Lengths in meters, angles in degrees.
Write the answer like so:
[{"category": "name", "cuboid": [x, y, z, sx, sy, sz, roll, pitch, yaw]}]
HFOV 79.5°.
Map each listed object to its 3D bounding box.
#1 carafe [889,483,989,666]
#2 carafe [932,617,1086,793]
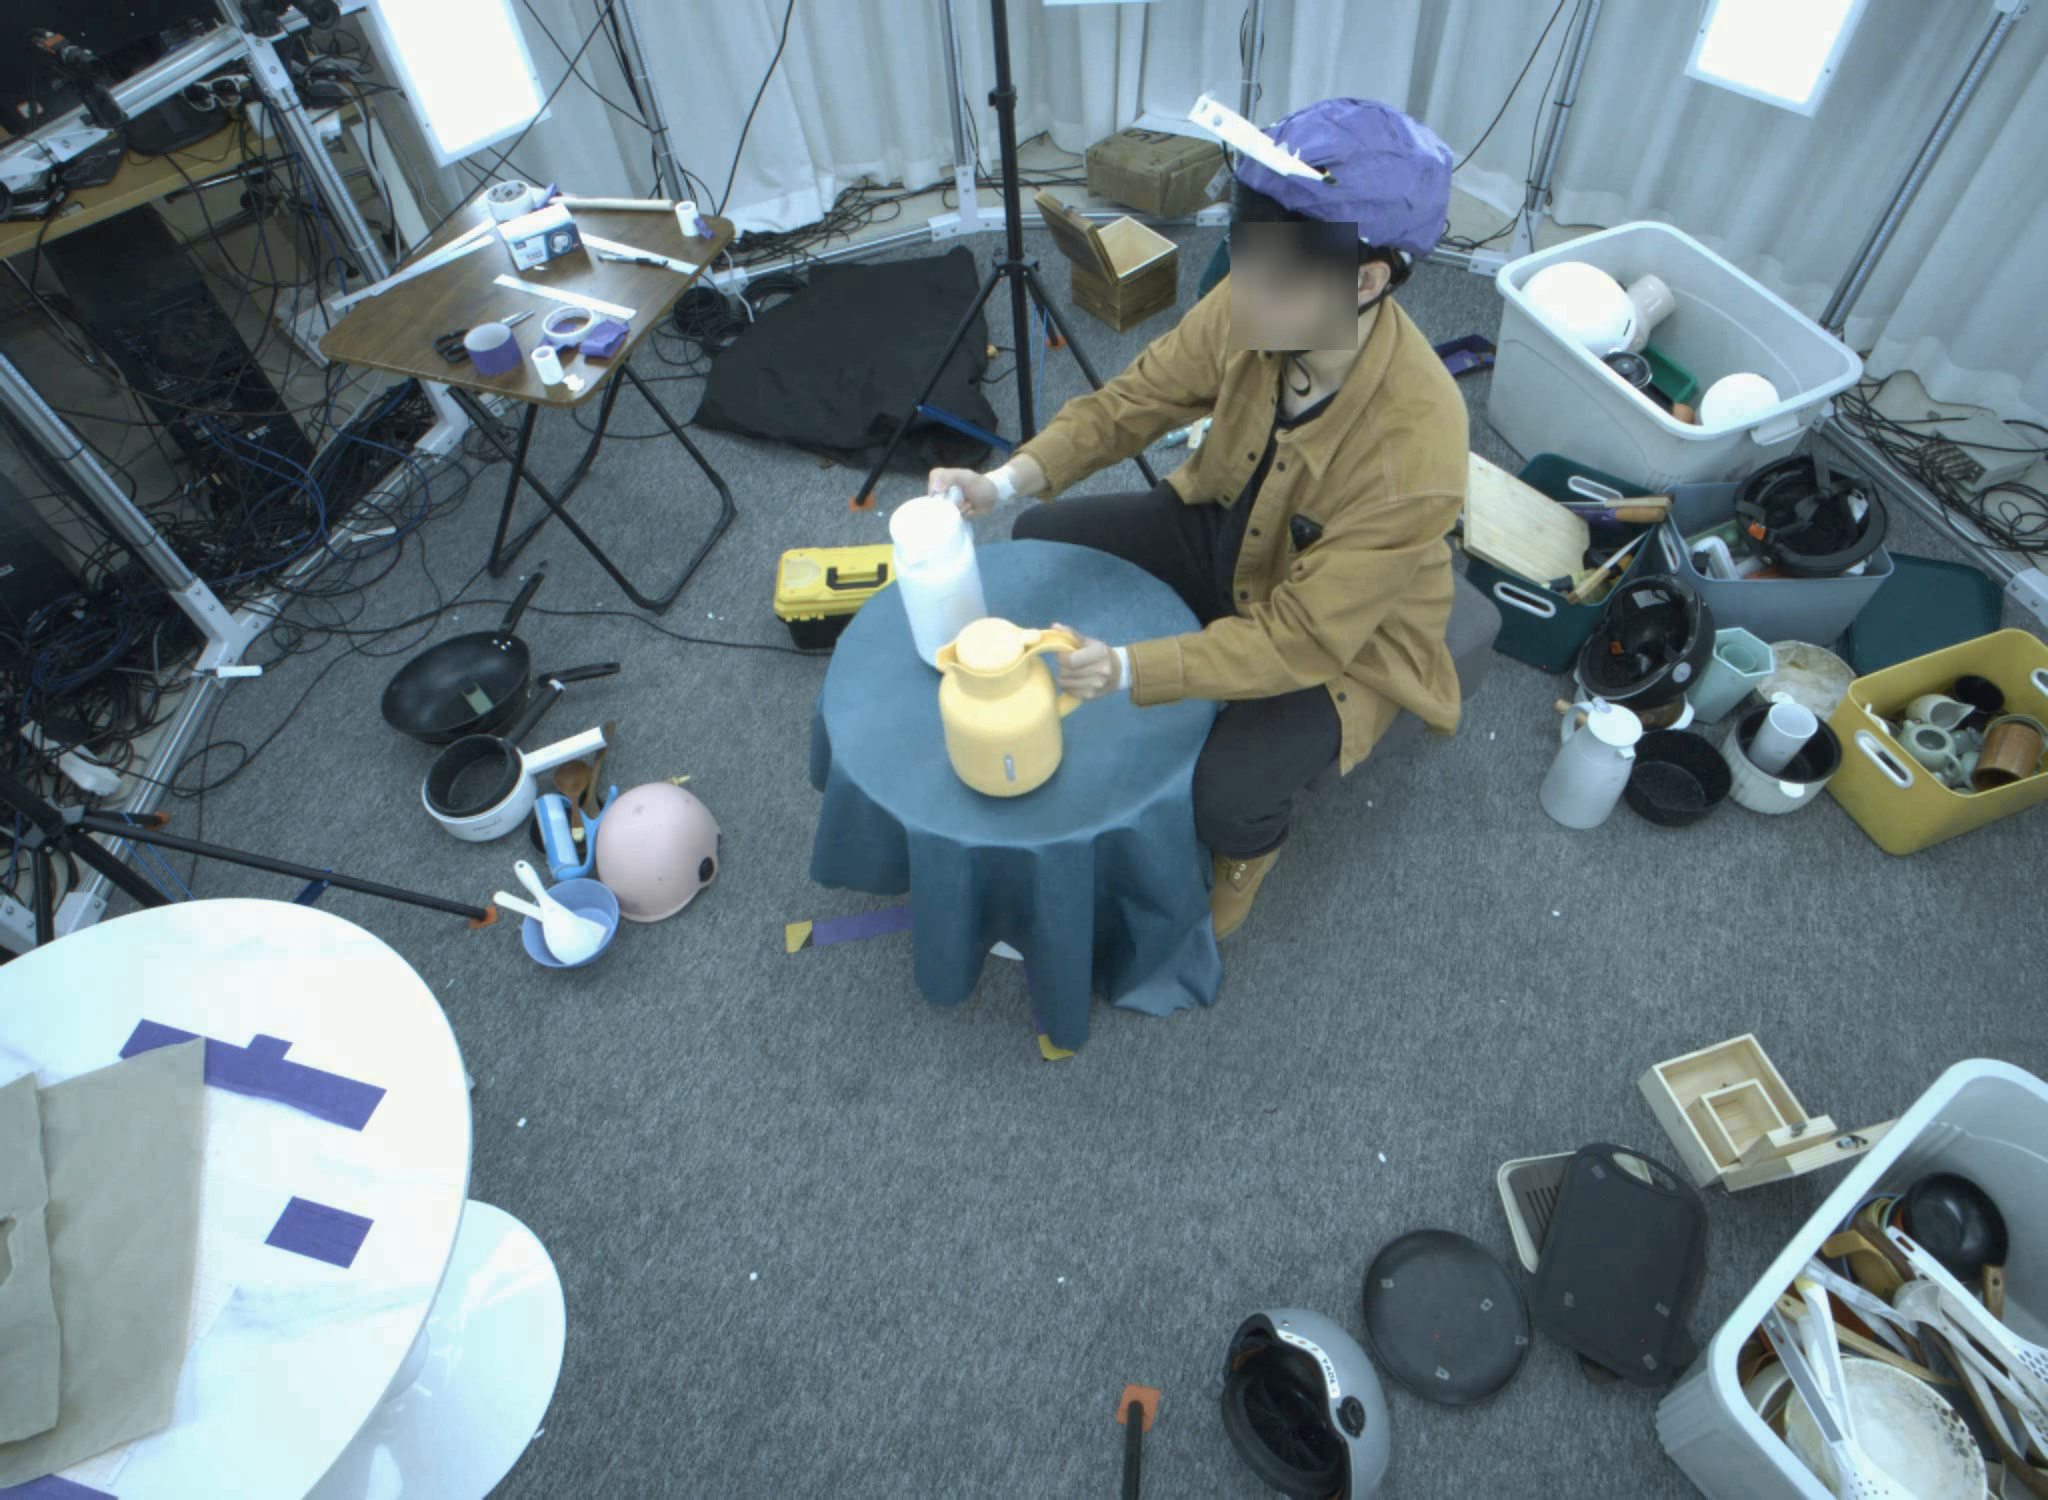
[{"category": "carafe", "cuboid": [-0.118, -0.253, 1.774, 0.122, 0.272, 0.172, 11, 59, 16]}, {"category": "carafe", "cuboid": [-0.015, -0.068, 1.661, 0.202, 0.263, 0.161, -10, 56, 0]}]
